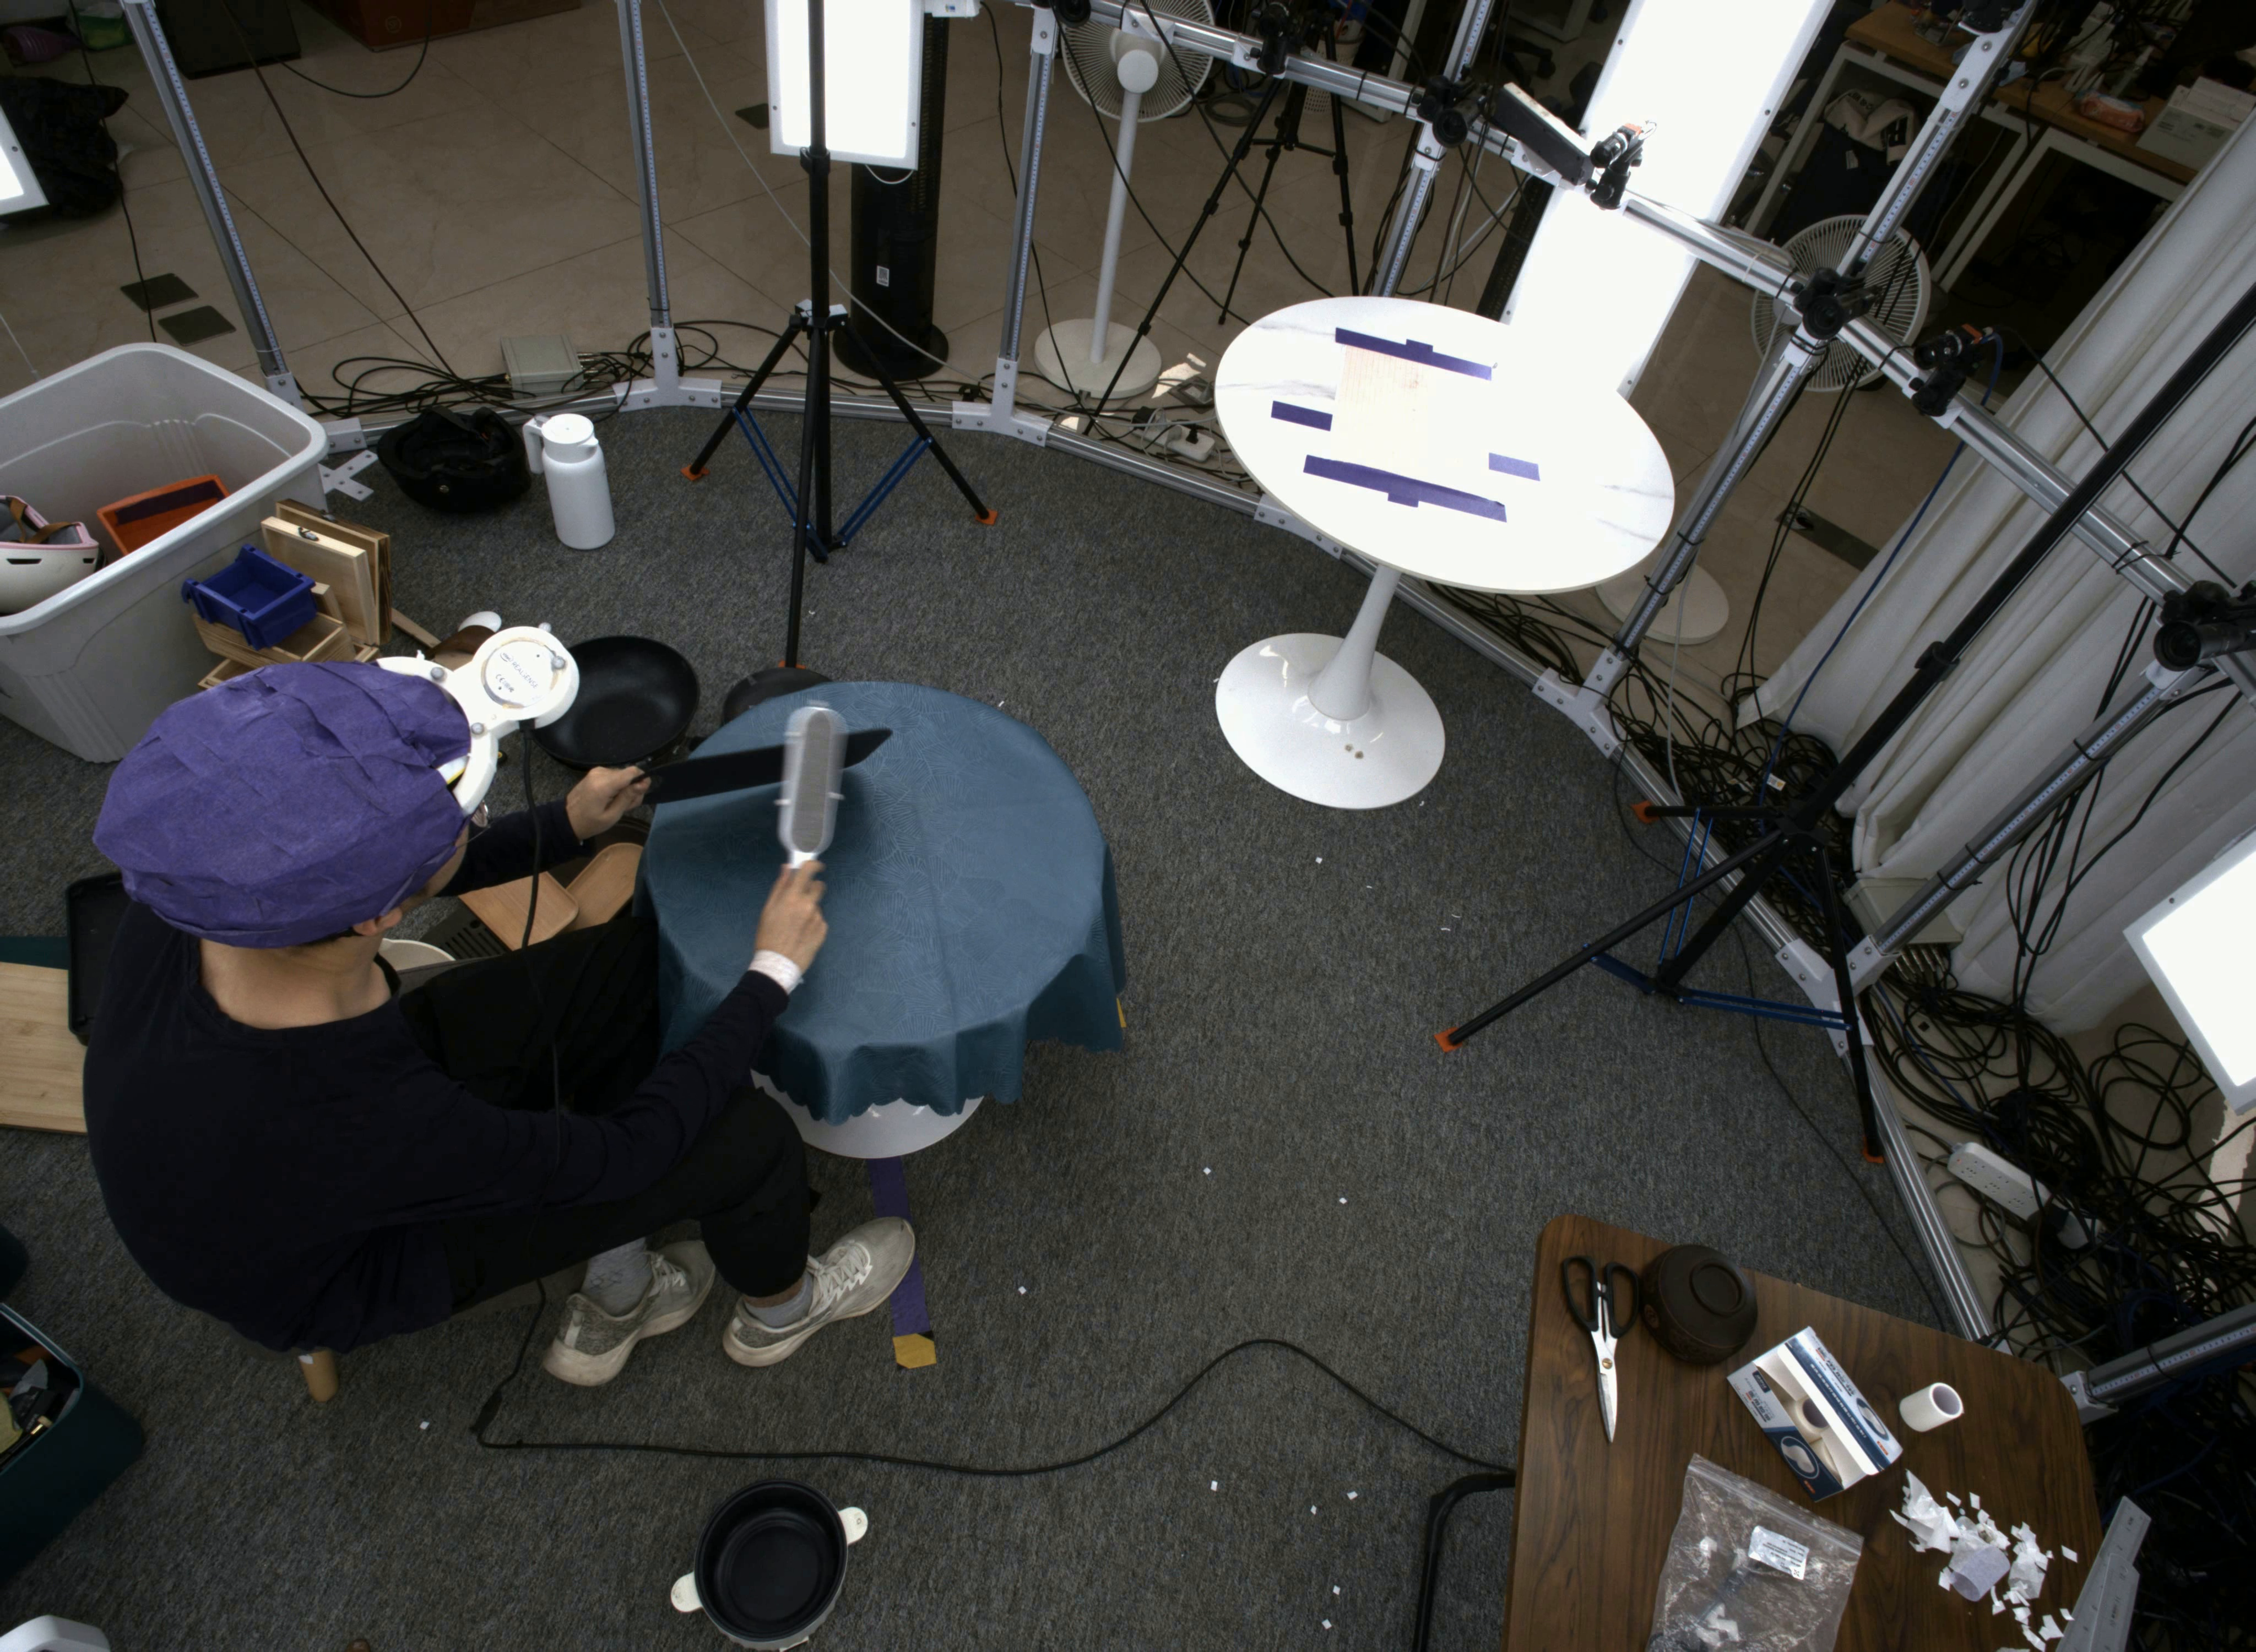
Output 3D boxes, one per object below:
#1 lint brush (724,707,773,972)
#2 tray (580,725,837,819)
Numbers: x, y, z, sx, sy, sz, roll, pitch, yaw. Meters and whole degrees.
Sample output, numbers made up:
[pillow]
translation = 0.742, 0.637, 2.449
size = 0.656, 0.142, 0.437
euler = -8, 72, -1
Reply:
[lint brush]
translation = -0.453, 0.014, 1.535
size = 0.061, 0.020, 0.312
euler = 1, 89, -41
[tray]
translation = -0.531, -0.068, 1.616
size = 0.328, 0.208, 0.010
euler = -16, 82, -31
